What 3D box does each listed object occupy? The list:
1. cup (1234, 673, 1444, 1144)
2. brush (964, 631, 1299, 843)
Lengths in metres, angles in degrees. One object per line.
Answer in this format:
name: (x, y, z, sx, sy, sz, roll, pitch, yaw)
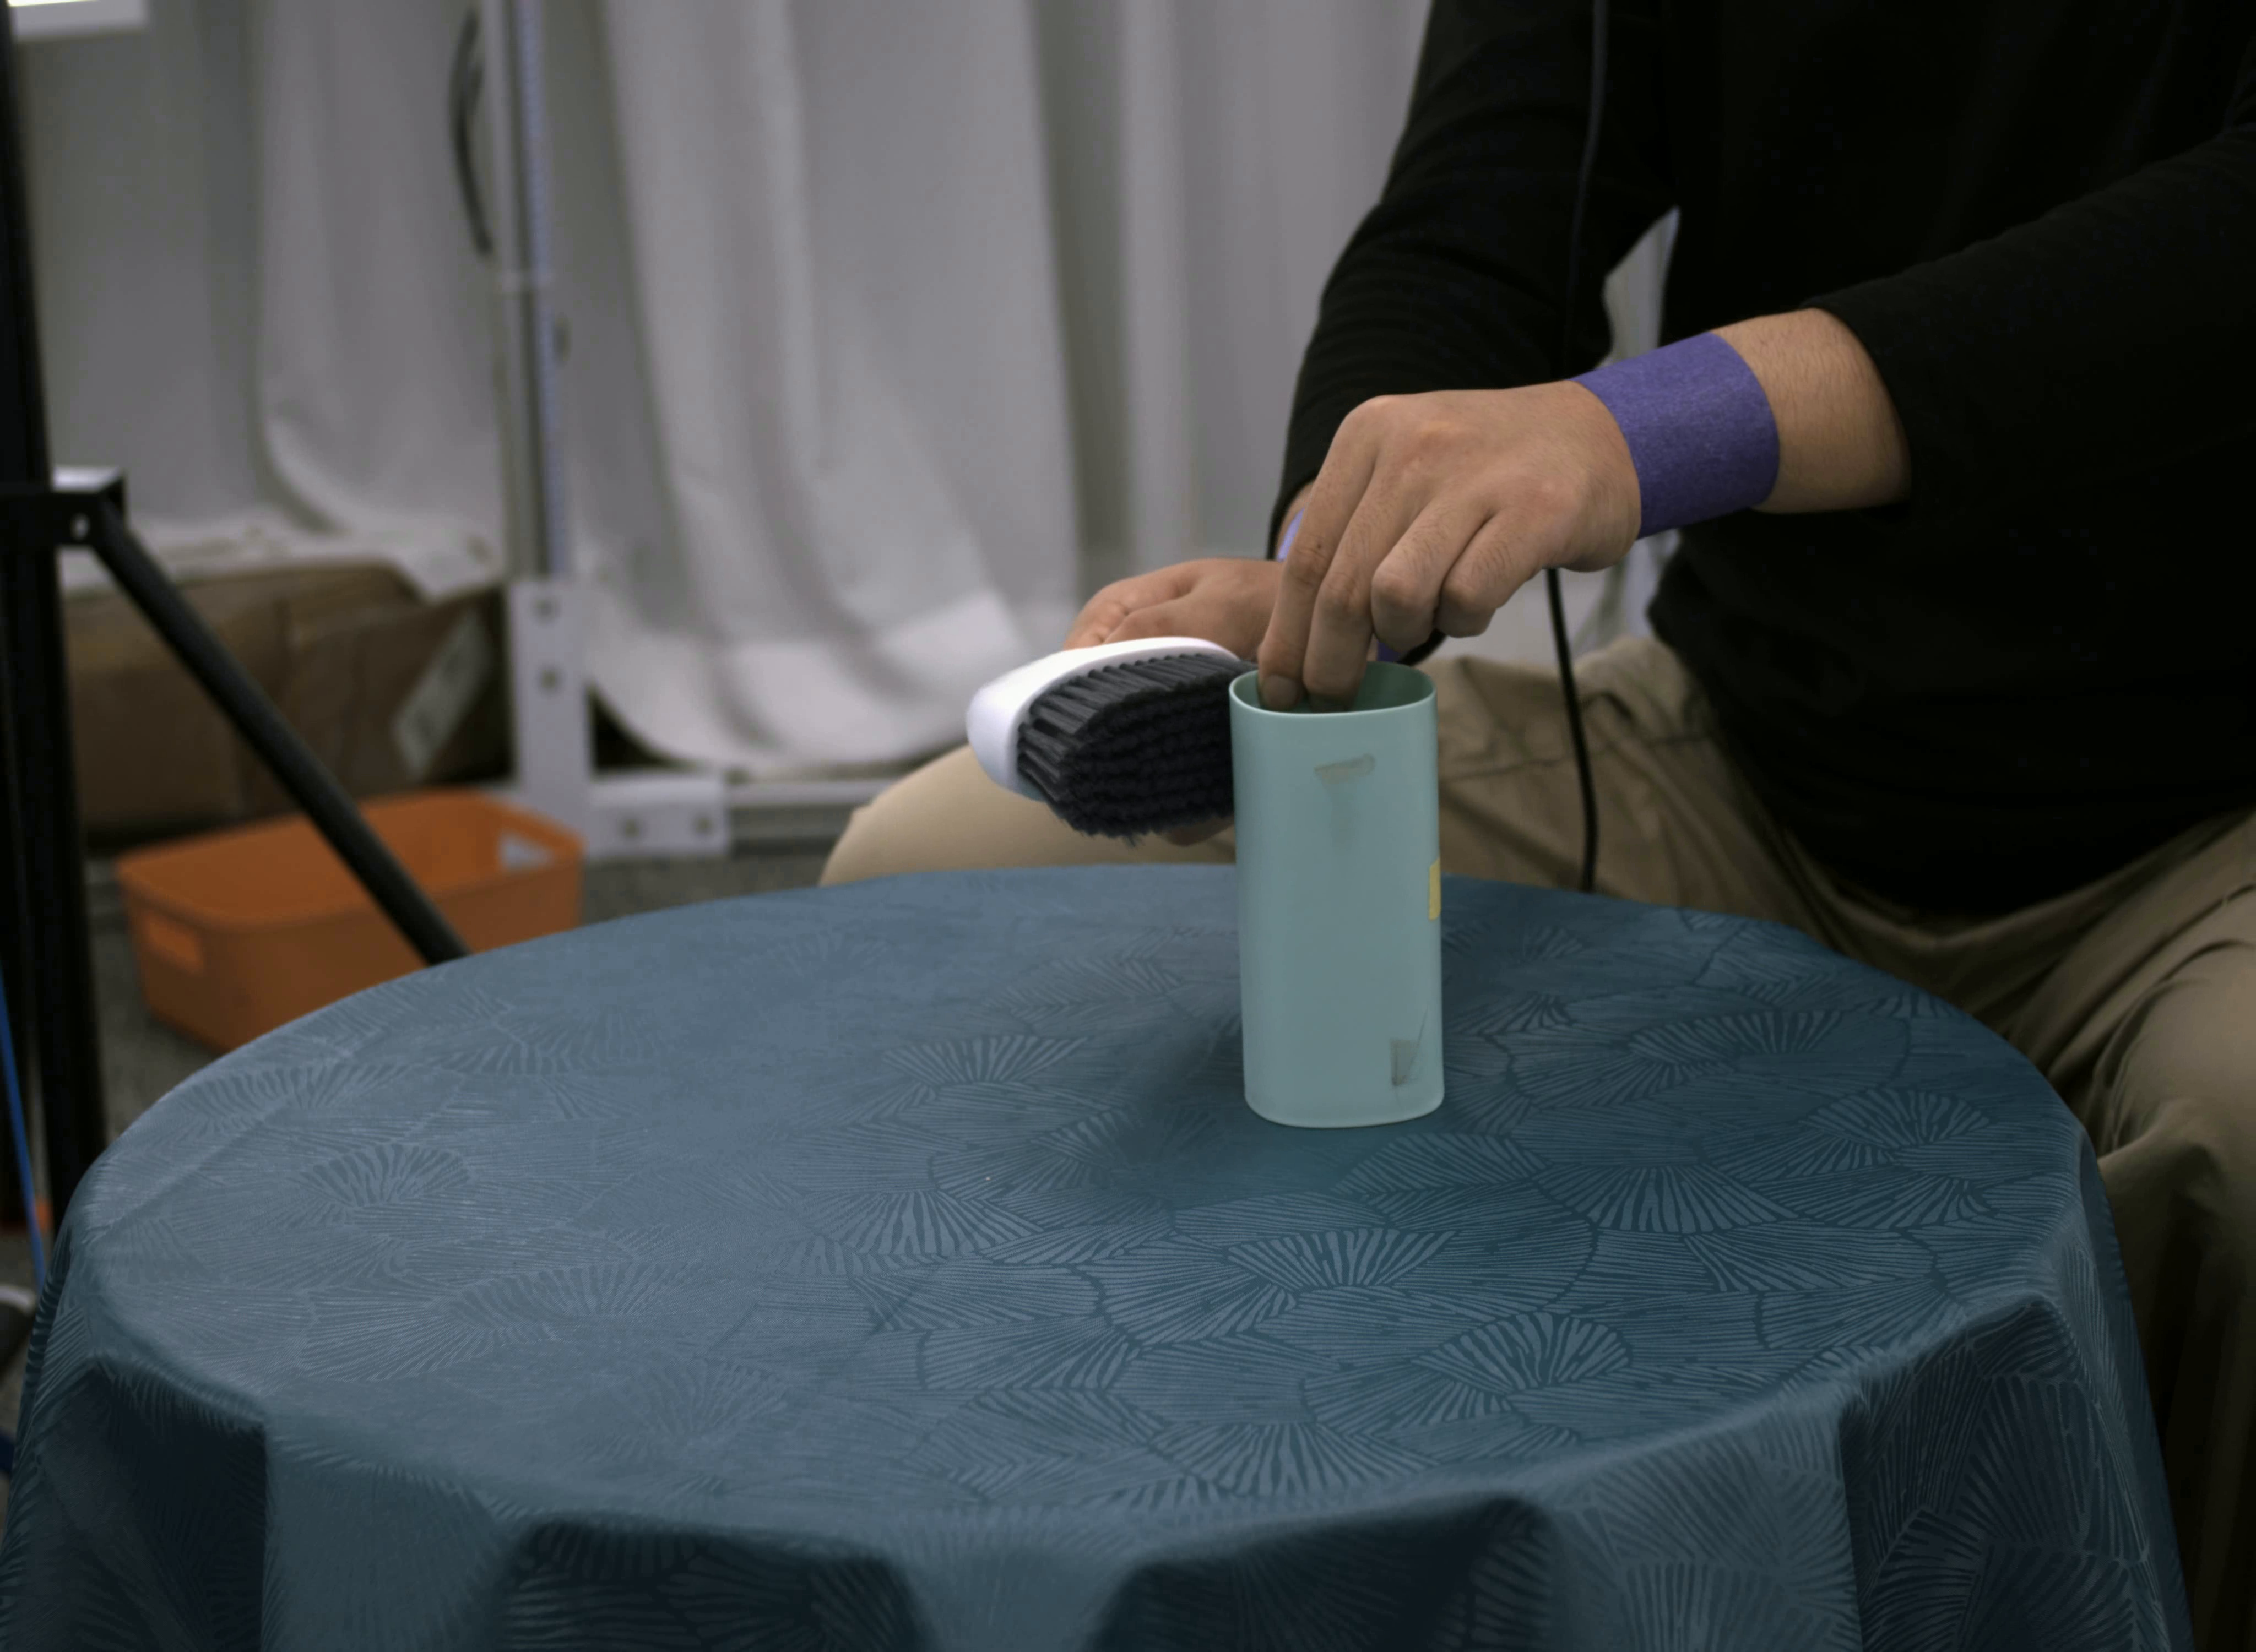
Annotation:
cup: (0.064, 0.025, 1.619, 0.066, 0.132, 0.067, -3, 15, -1)
brush: (-0.006, -0.035, 1.642, 0.097, 0.050, 0.074, -14, 29, -36)
